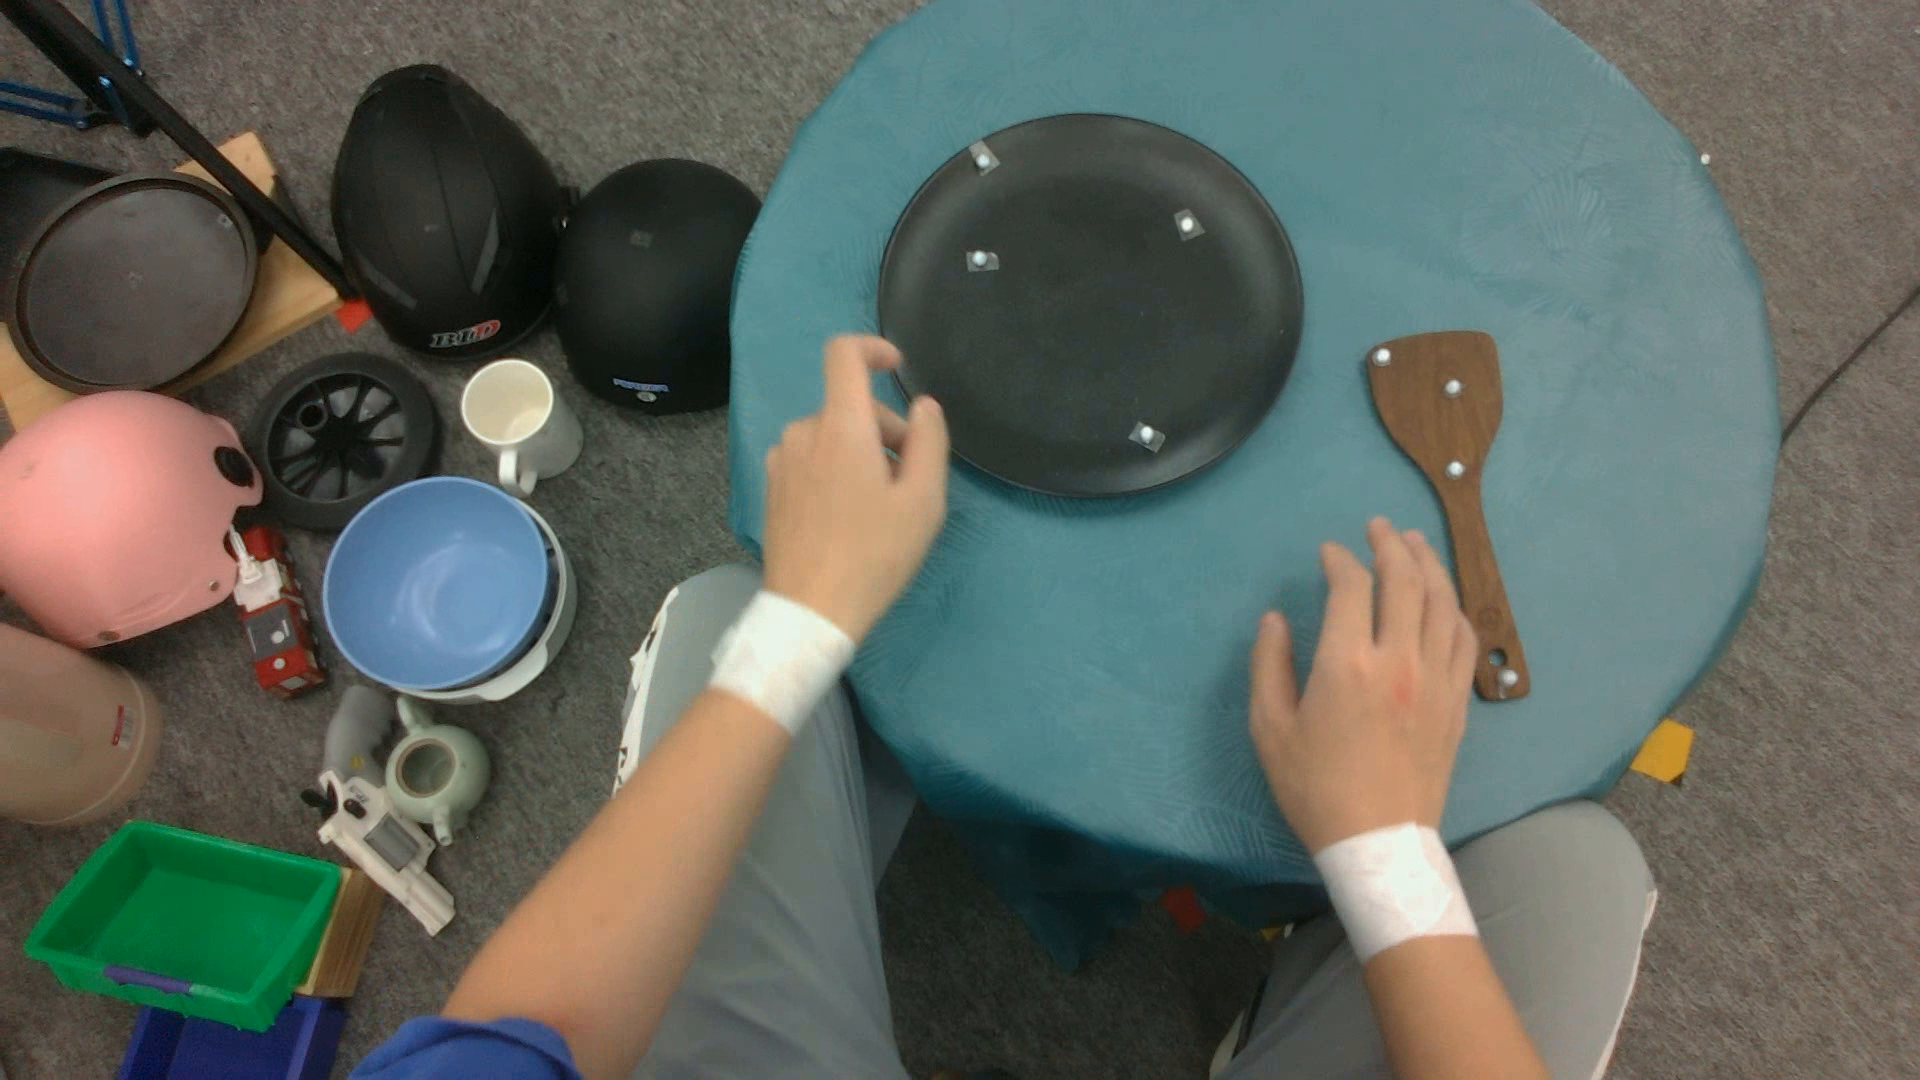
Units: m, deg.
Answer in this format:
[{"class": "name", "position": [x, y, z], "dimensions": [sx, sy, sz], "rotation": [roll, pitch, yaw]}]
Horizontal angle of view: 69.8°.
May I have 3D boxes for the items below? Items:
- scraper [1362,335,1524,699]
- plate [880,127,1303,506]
[{"class": "scraper", "position": [0.278, -0.016, 0.766], "dimensions": [0.076, 0.011, 0.212], "rotation": [-6, 72, 0]}, {"class": "plate", "position": [0.076, -0.133, 0.804], "dimensions": [0.244, 0.023, 0.245], "rotation": [0, 71, 1]}]
